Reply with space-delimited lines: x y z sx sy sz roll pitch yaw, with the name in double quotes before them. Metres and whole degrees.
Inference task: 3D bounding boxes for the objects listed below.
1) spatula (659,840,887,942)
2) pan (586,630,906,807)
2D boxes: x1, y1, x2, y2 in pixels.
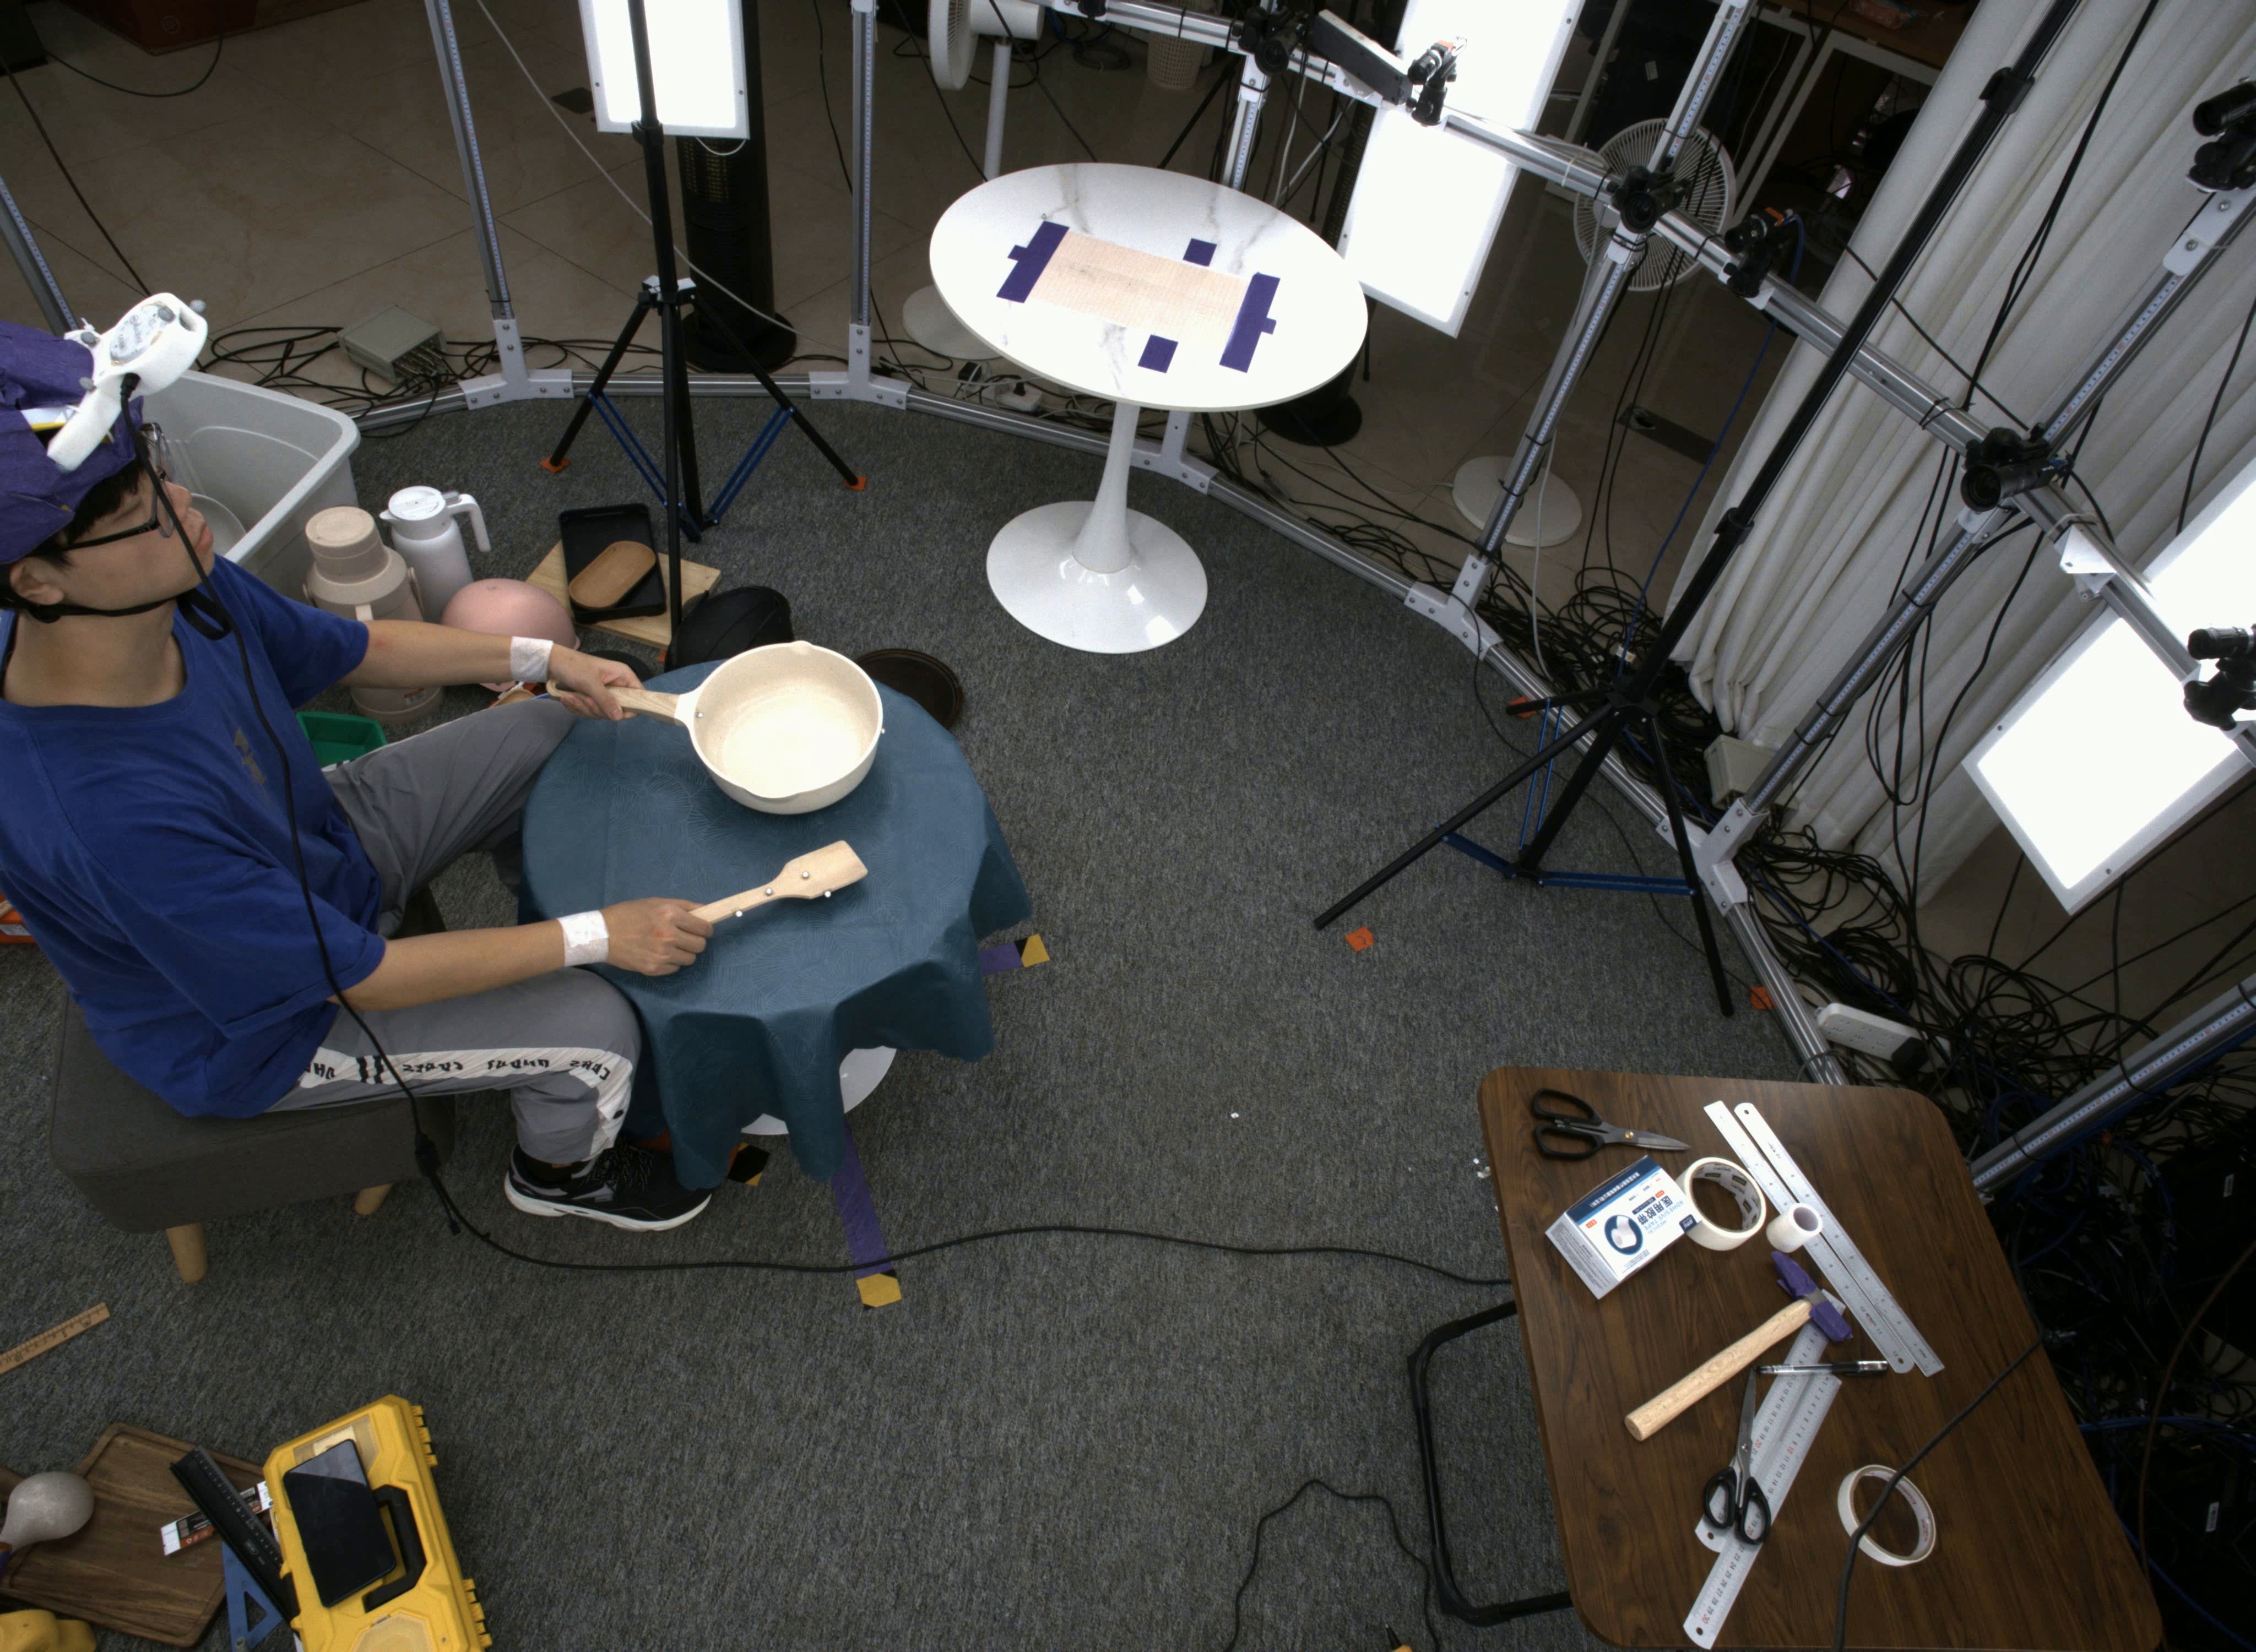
"spatula" -0.445 0.085 1.619 0.295 0.011 0.070 -21 54 -32
"pan" -0.515 -0.147 1.738 0.433 0.104 0.259 4 59 -7
